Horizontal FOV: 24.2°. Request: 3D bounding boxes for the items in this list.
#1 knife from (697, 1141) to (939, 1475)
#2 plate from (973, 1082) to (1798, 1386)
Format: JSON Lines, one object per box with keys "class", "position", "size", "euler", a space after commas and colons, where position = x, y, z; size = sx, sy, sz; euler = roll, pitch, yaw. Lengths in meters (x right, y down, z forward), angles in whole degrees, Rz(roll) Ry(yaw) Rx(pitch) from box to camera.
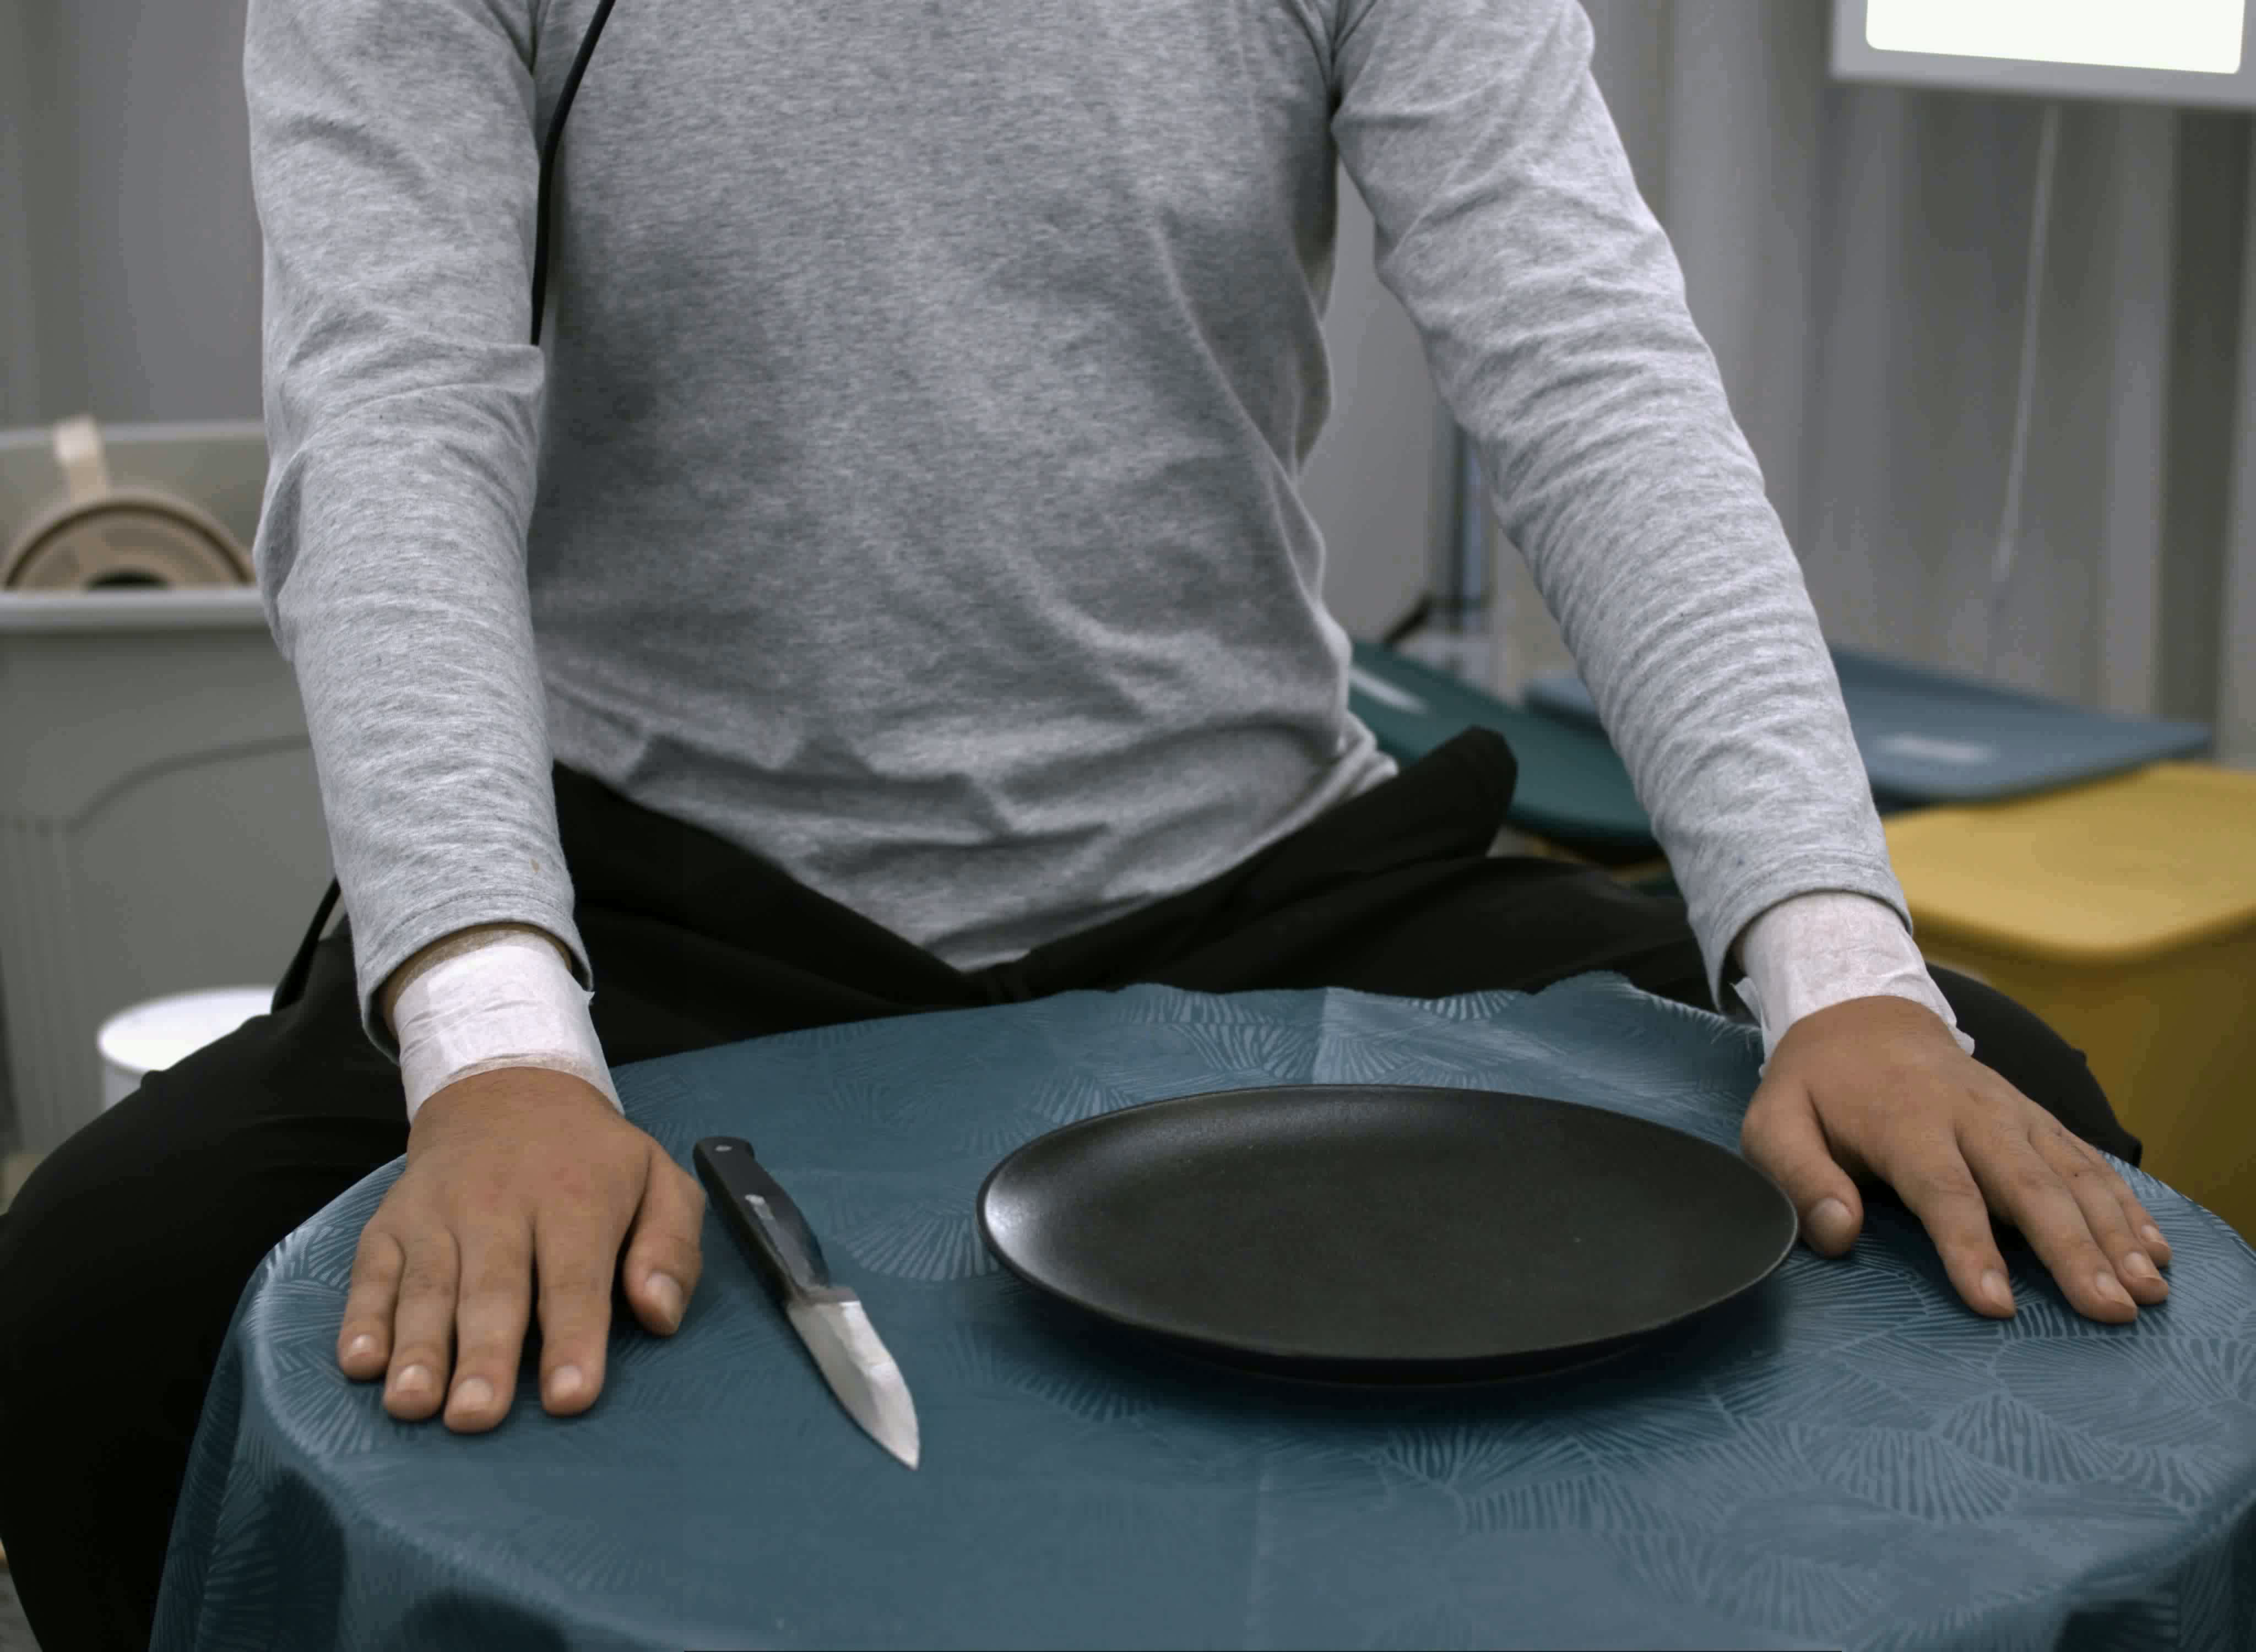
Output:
{"class": "knife", "position": [-0.091, 0.138, 1.510], "size": [0.024, 0.016, 0.235], "euler": [-5, 19, -17]}
{"class": "plate", "position": [0.075, 0.122, 1.550], "size": [0.243, 0.023, 0.243], "euler": [1, 15, 0]}
